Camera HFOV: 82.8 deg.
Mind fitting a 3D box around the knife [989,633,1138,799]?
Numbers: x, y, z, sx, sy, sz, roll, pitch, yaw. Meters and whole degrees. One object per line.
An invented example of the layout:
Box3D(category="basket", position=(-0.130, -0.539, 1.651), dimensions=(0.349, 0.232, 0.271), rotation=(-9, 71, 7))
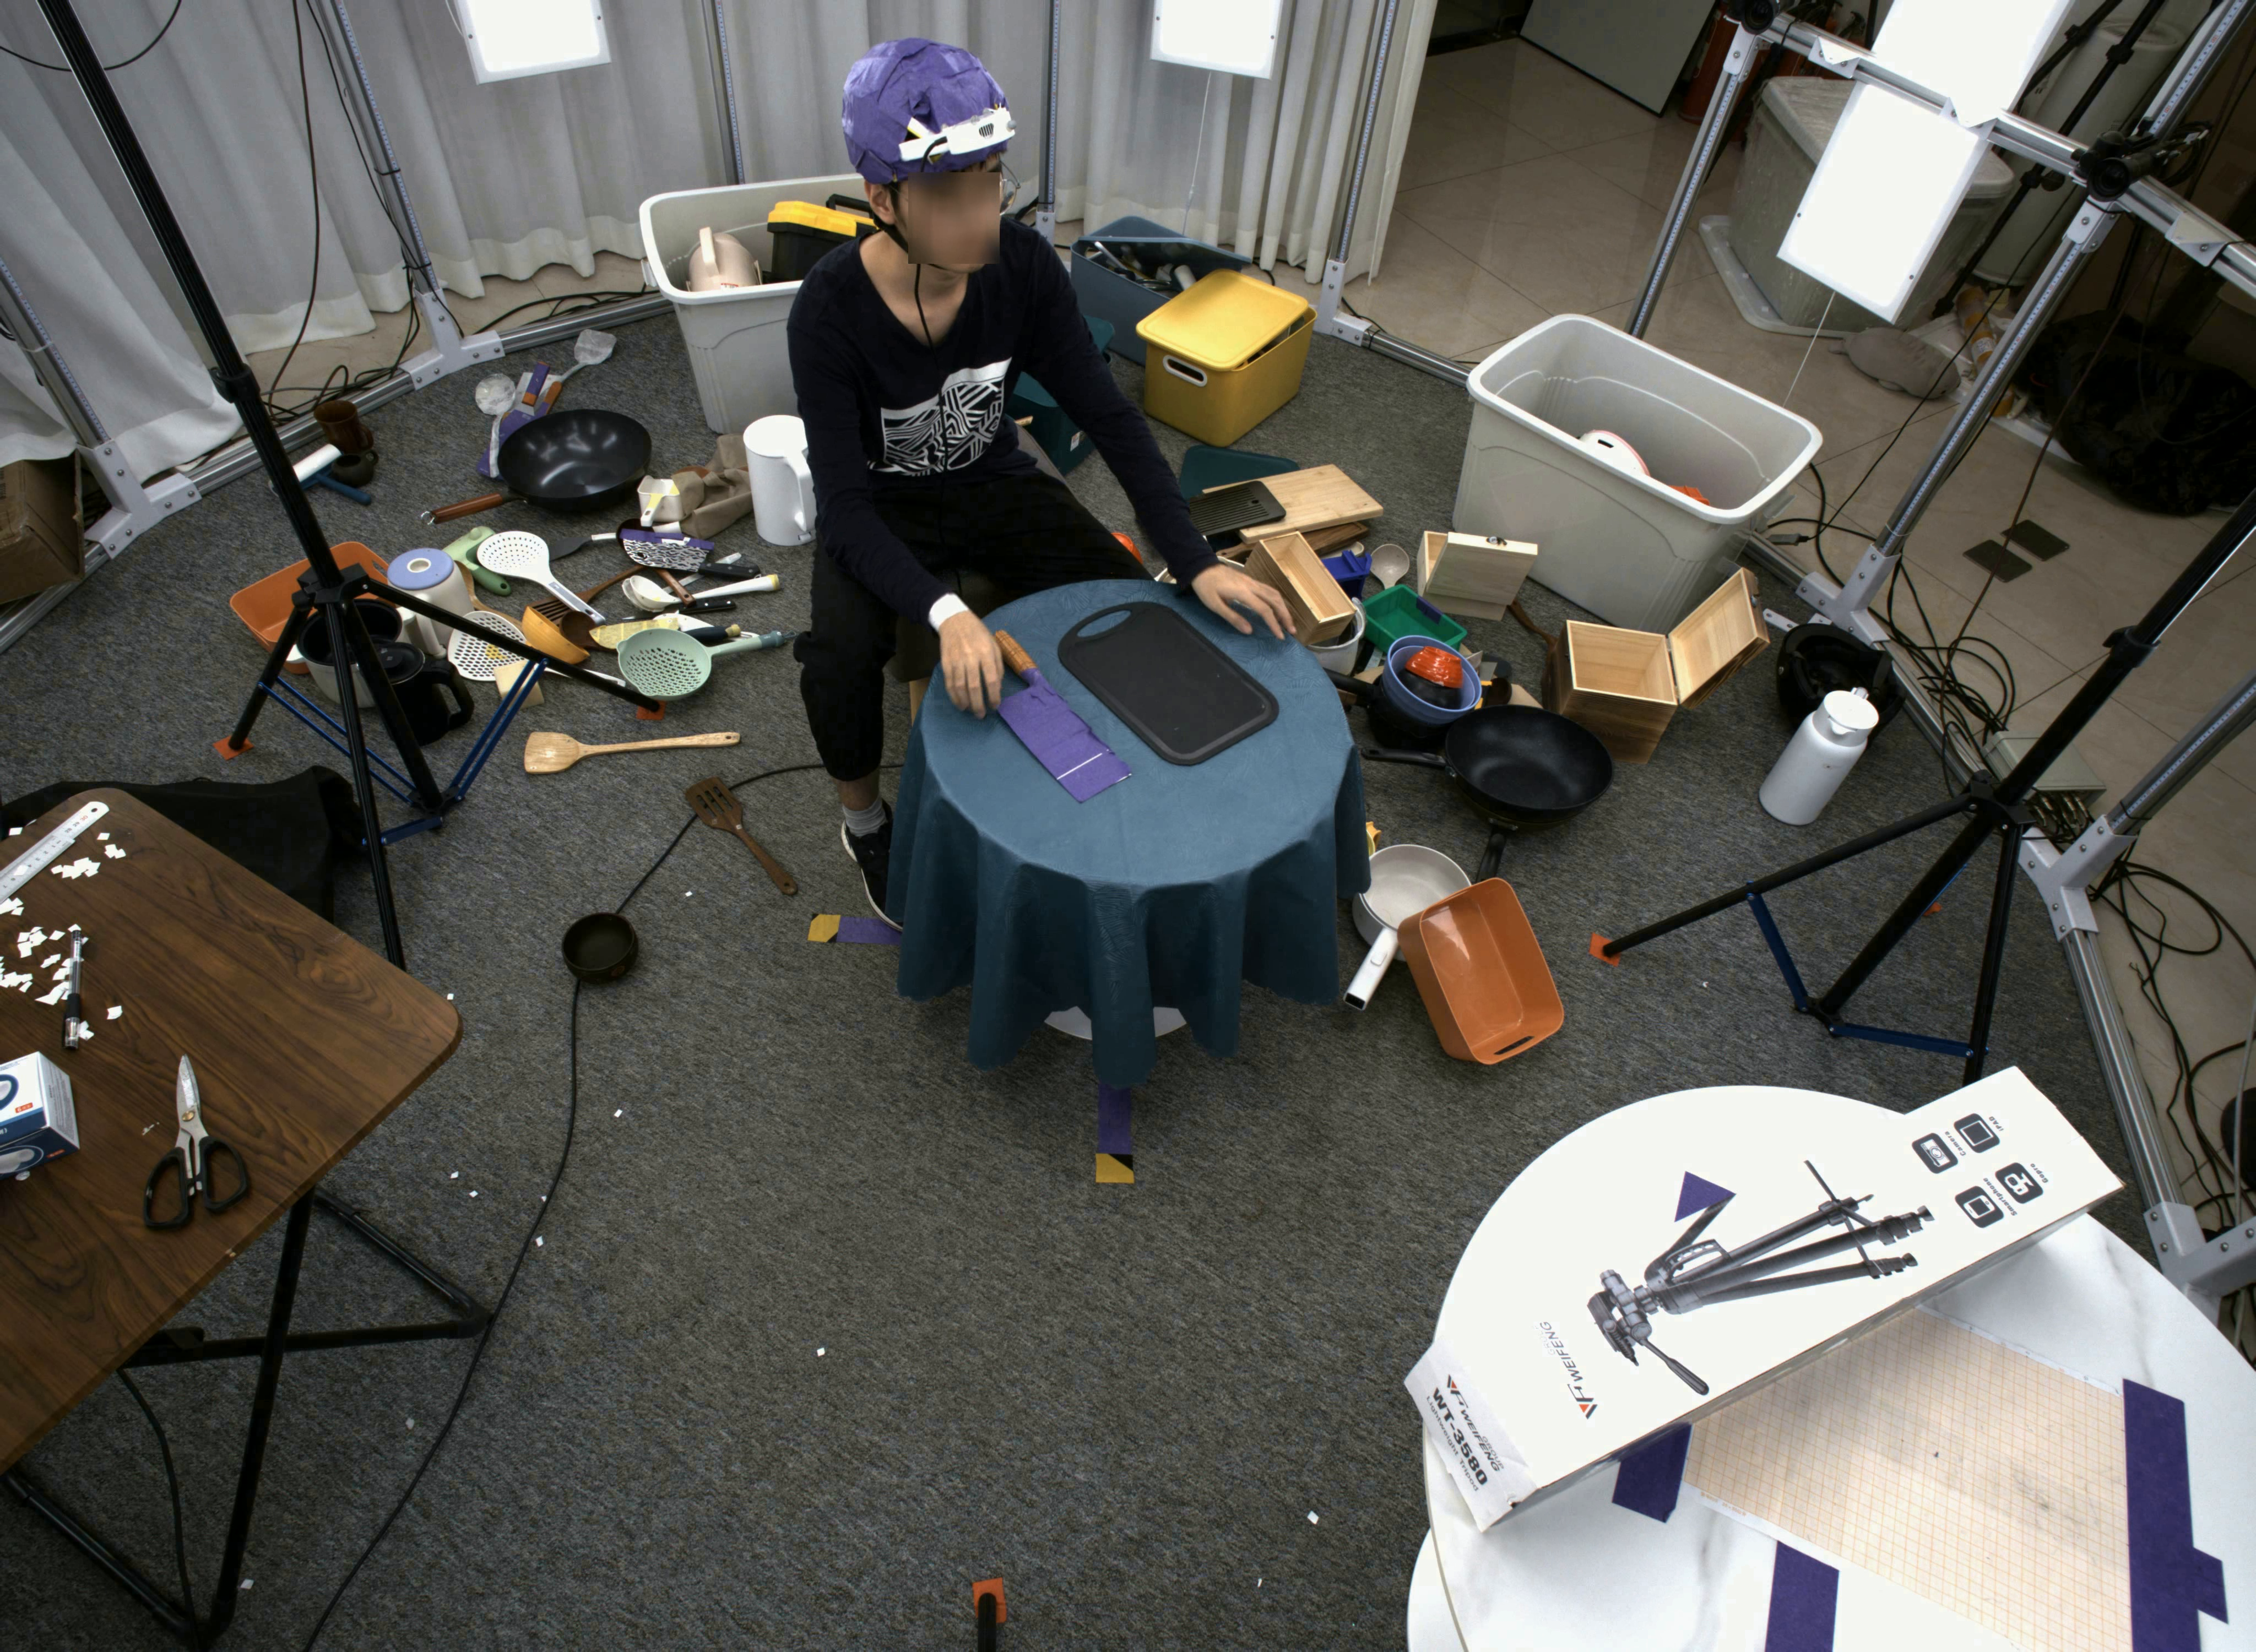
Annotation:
Box3D(category="knife", position=(-0.119, -0.157, 1.778), dimensions=(0.104, 0.031, 0.321), rotation=(-28, 57, -25))

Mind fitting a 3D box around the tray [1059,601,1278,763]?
Box3D(category="tray", position=(0.051, -0.220, 1.857), dimensions=(0.212, 0.009, 0.331), rotation=(-28, 56, -26))
